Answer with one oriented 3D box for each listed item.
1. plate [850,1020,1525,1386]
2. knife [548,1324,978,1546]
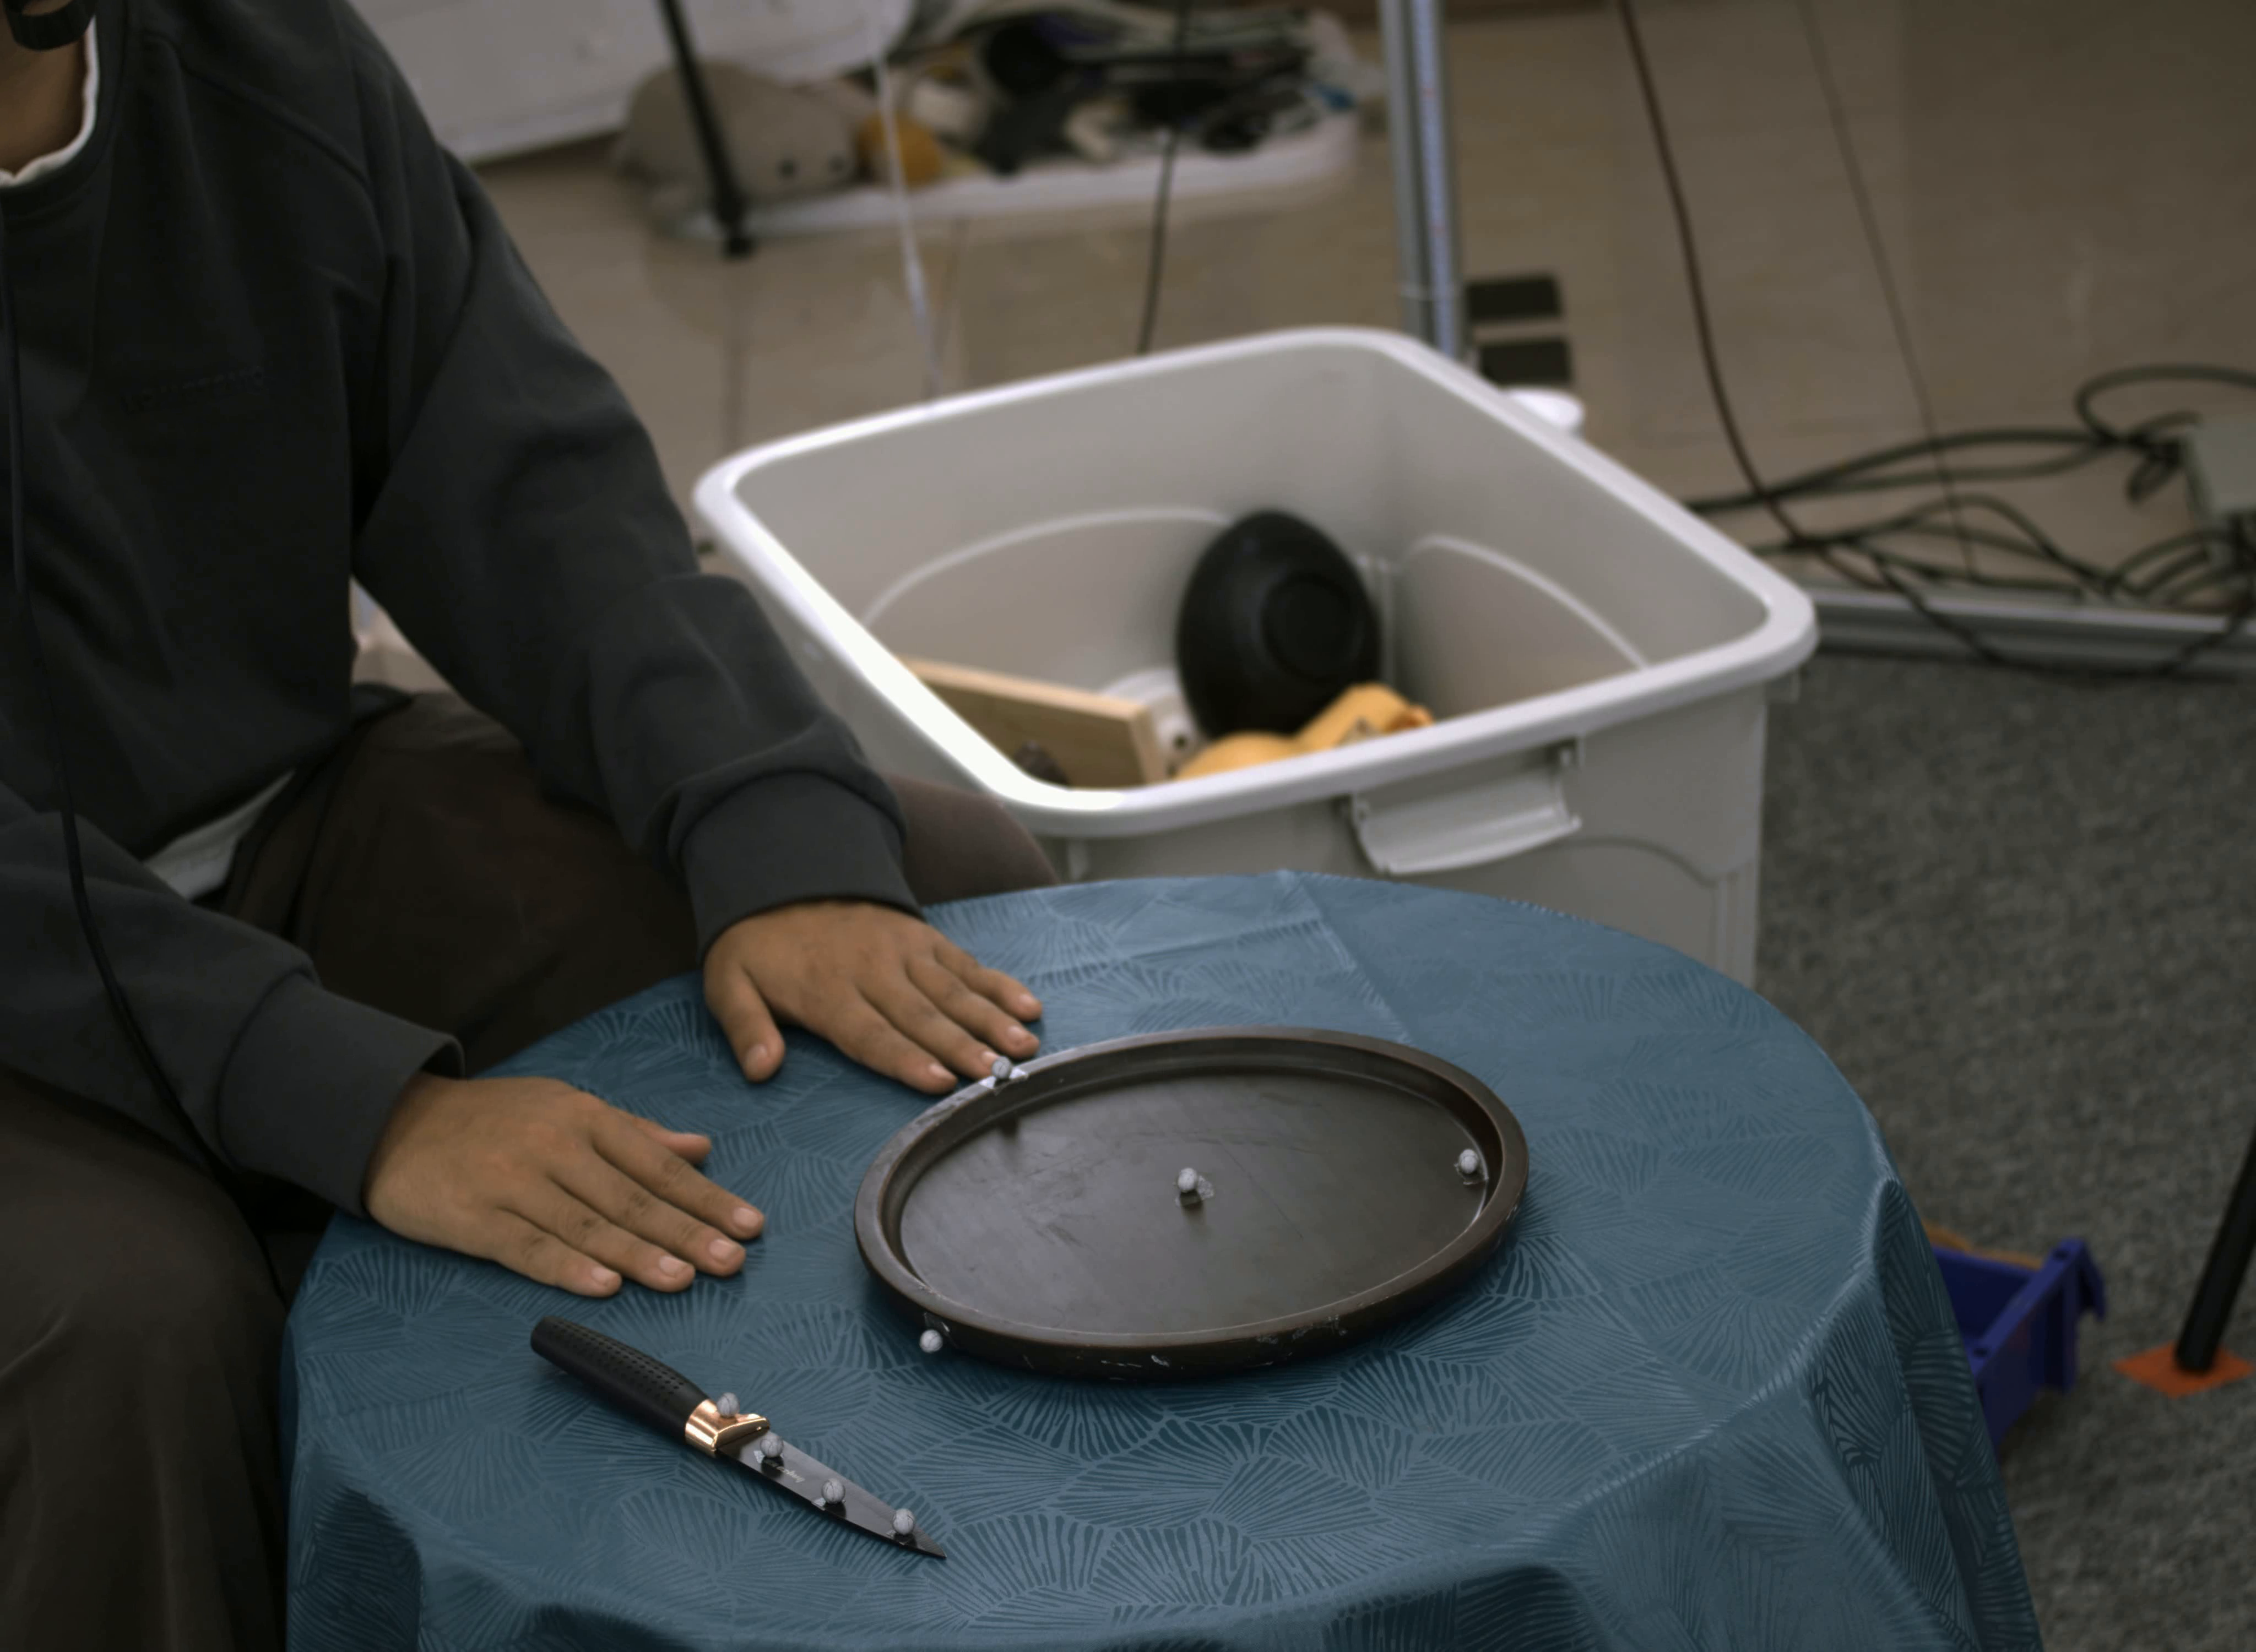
[{"bbox_3d":[0.023,0.139,2.115,0.254,0.029,0.251,-7,24,3],"label":"plate"},{"bbox_3d":[-0.131,0.216,2.001,0.026,0.017,0.223,-20,28,-38],"label":"knife"}]
